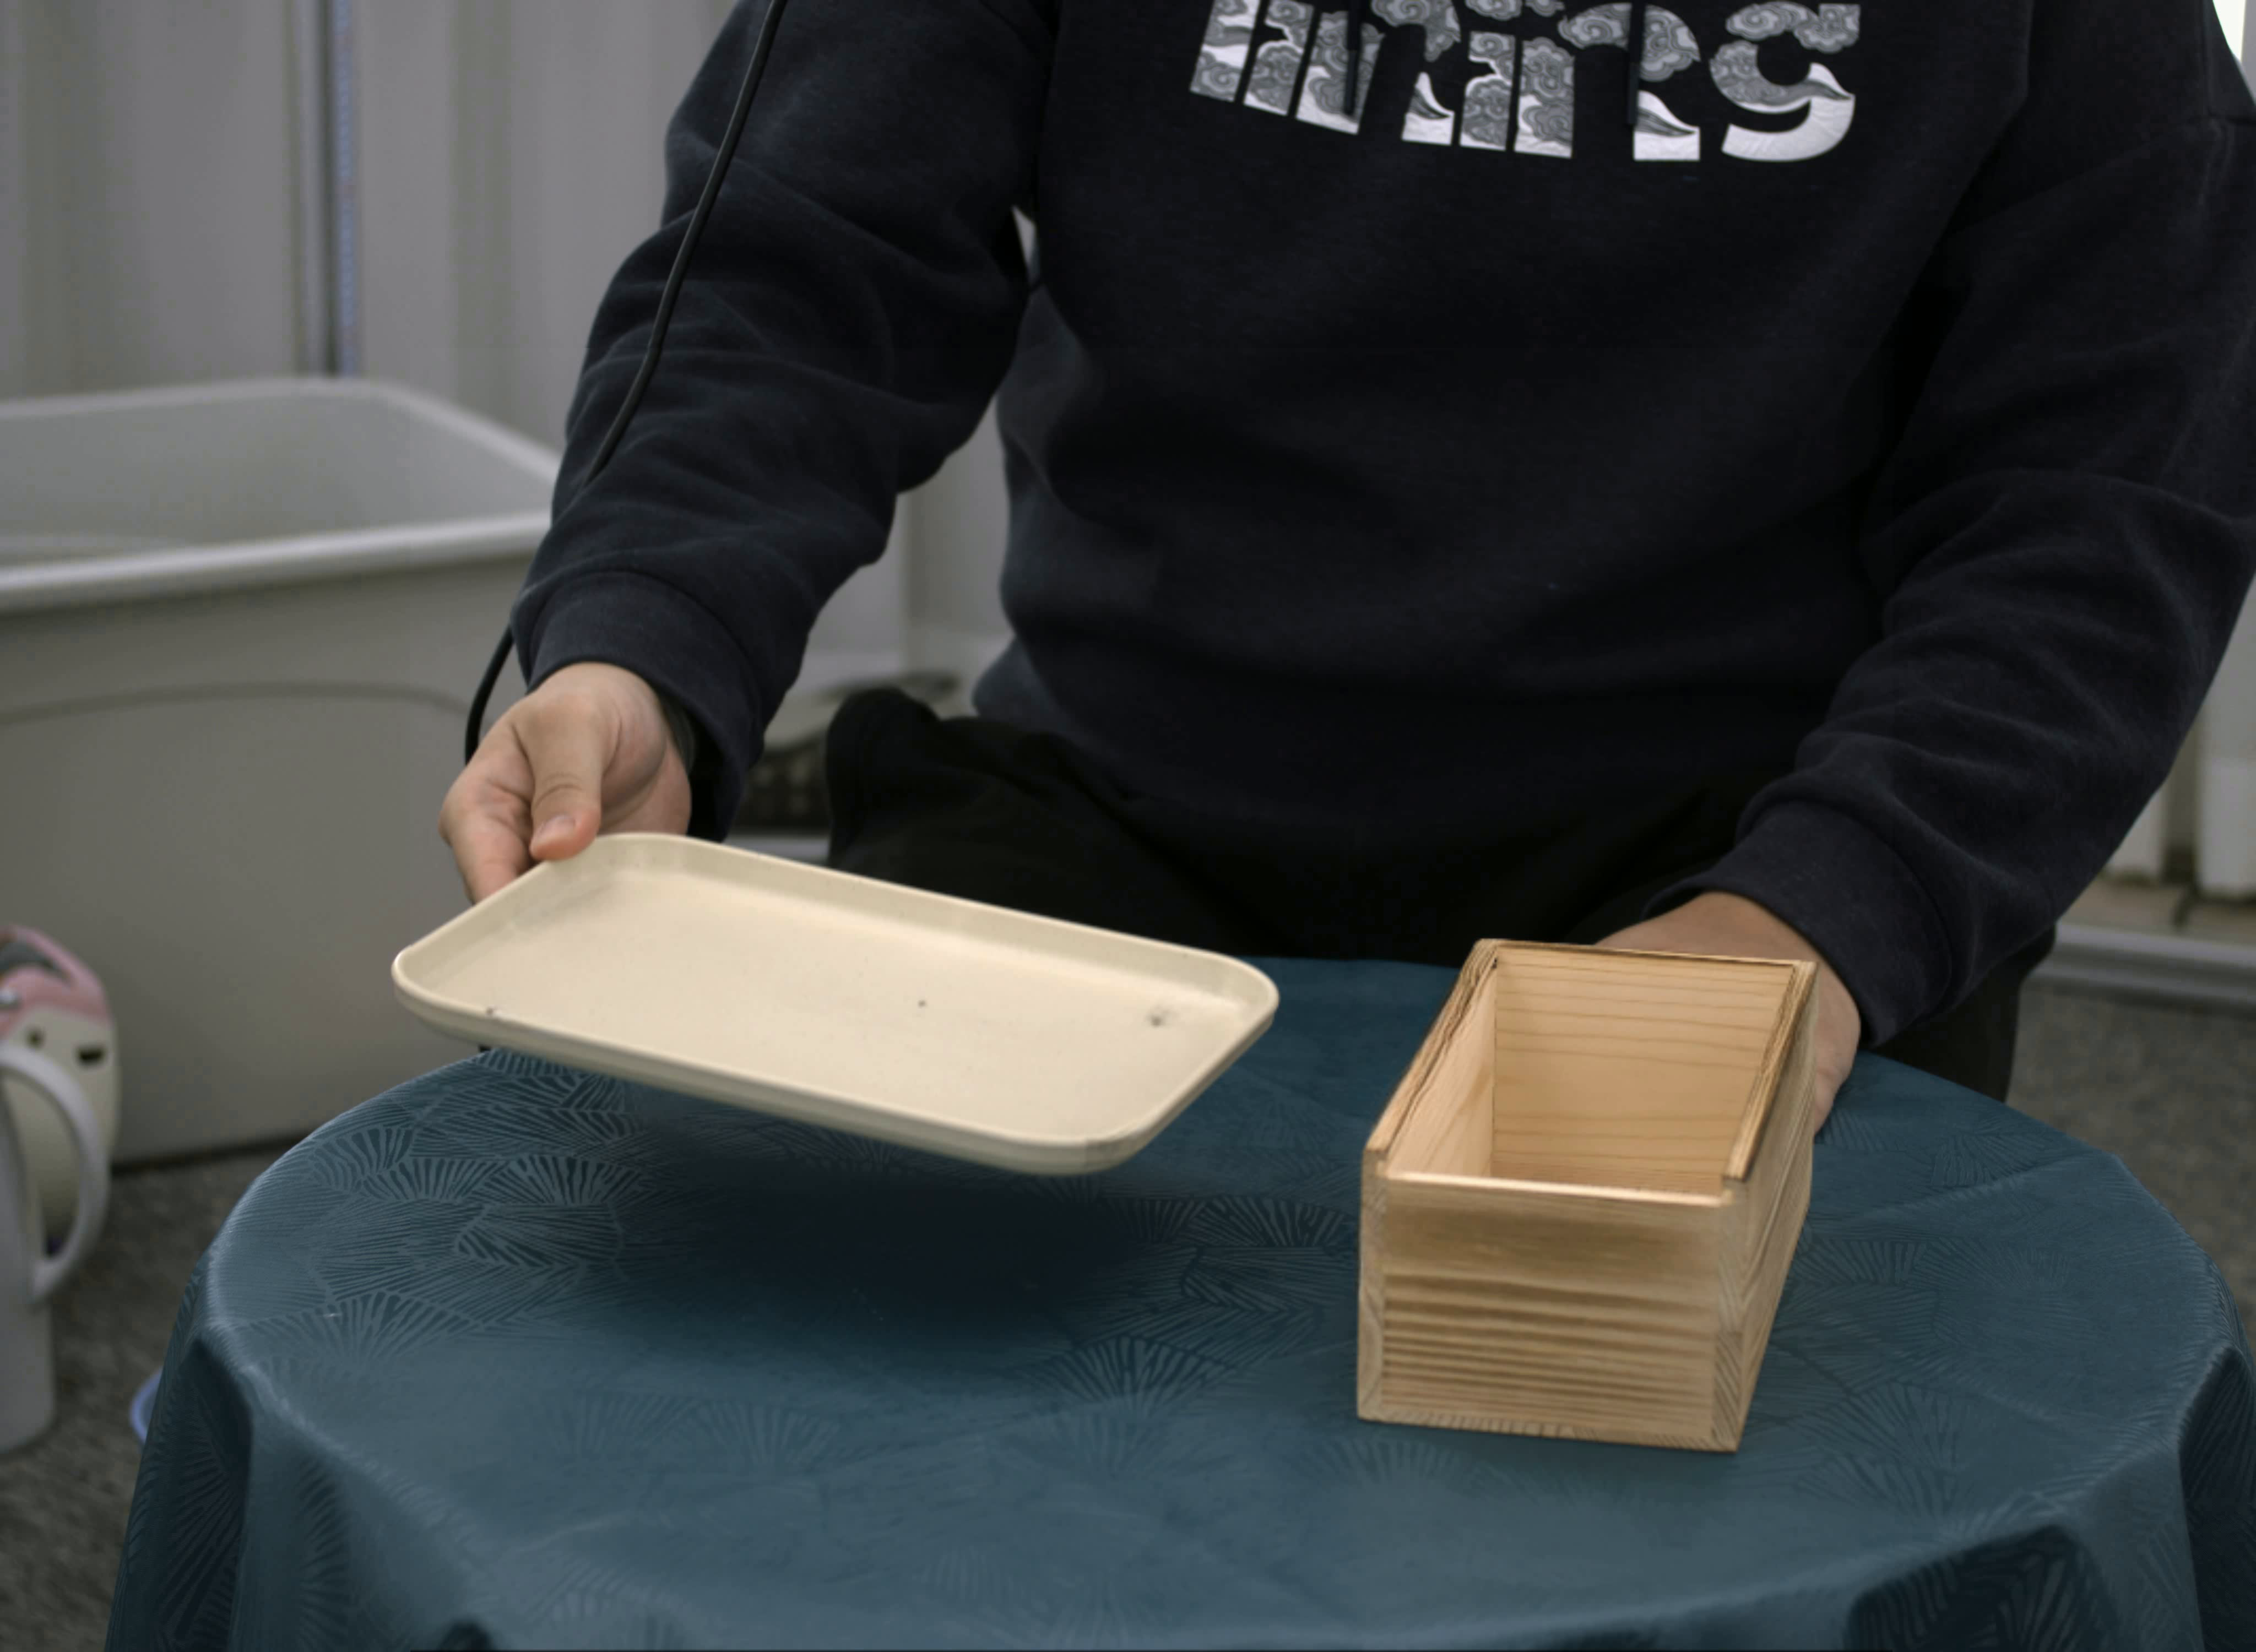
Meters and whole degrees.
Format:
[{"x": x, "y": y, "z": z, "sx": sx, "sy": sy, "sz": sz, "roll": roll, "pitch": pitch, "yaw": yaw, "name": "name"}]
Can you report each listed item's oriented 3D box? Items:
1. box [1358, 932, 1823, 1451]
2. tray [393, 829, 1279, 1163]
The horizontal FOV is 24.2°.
[{"x": 0.137, "y": 0.101, "z": 1.523, "sx": 0.107, "sy": 0.081, "sz": 0.211, "roll": 4, "pitch": 16, "yaw": 11, "name": "box"}, {"x": -0.085, "y": 0.050, "z": 1.573, "sx": 0.237, "sy": 0.017, "sz": 0.171, "roll": 12, "pitch": 20, "yaw": 17, "name": "tray"}]
